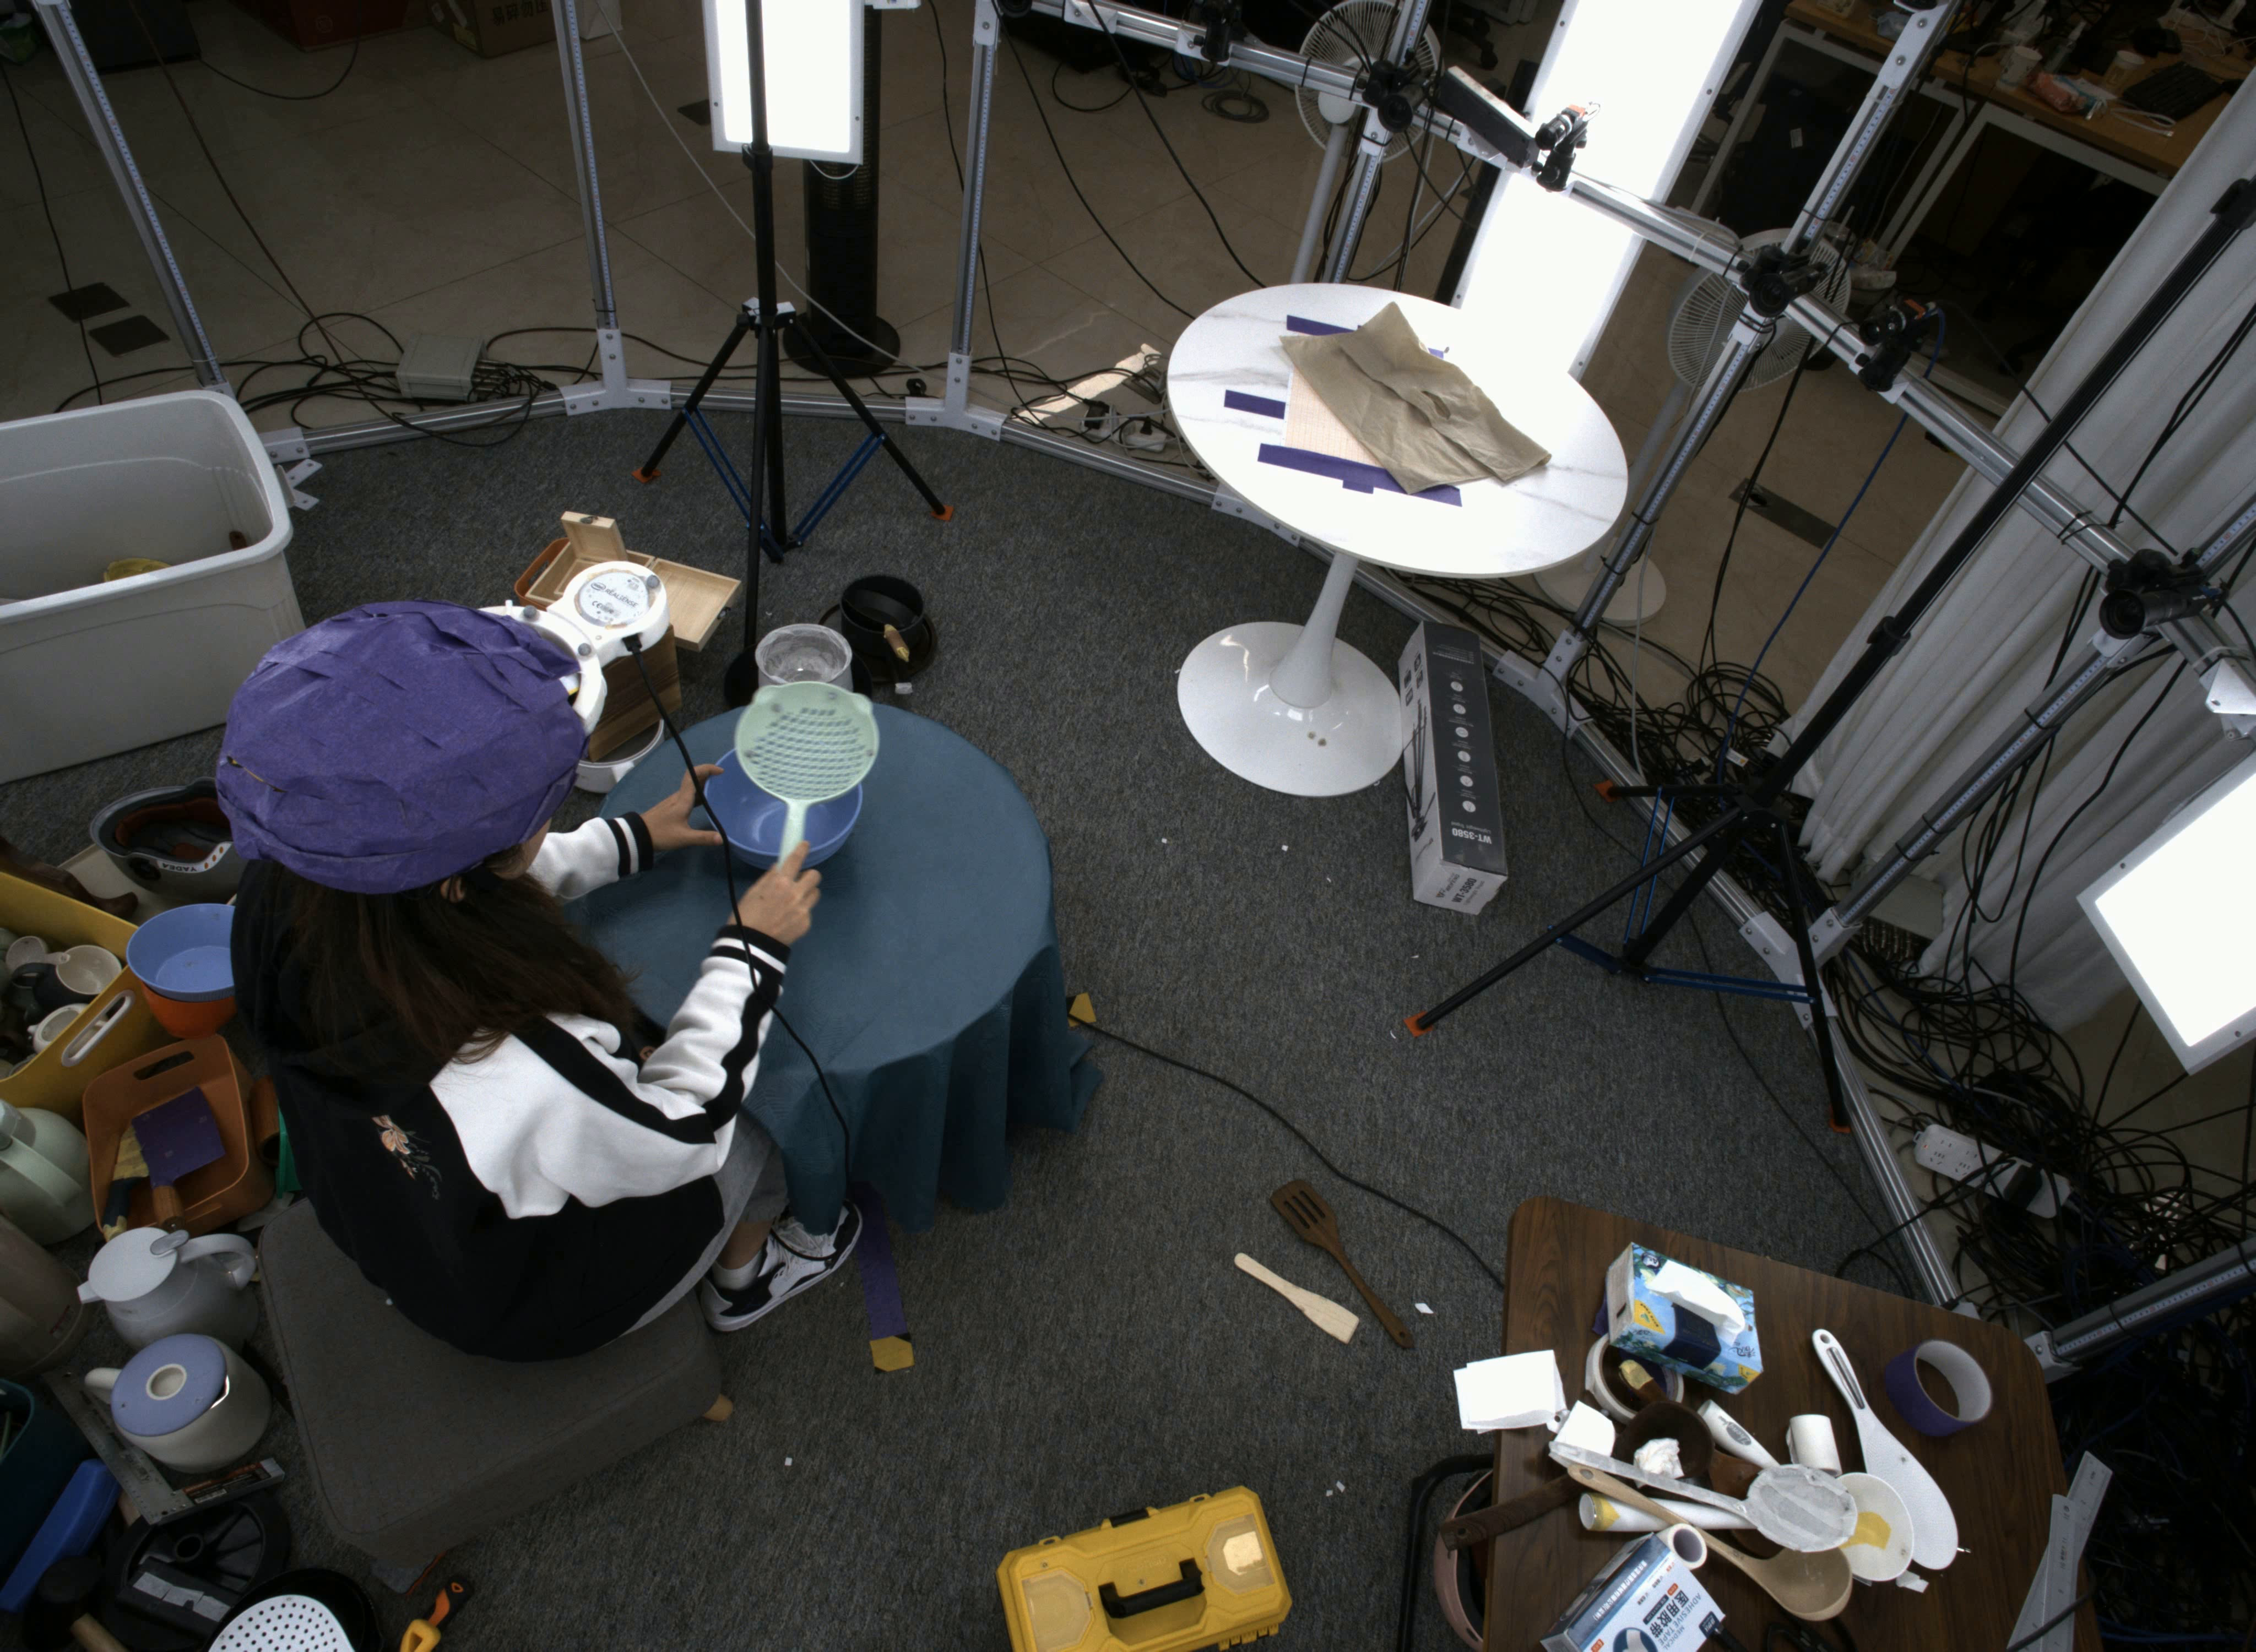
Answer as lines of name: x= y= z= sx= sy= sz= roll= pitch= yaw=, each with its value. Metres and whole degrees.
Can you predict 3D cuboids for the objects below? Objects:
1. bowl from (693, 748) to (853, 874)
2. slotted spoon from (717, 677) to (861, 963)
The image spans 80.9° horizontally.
bowl: x=-0.452 y=-0.014 z=1.660 sx=0.196 sy=0.097 sz=0.193 roll=8 pitch=52 yaw=-9
slotted spoon: x=-0.408 y=-0.016 z=1.513 sx=0.169 sy=0.076 sz=0.352 roll=7 pitch=54 yaw=-12
